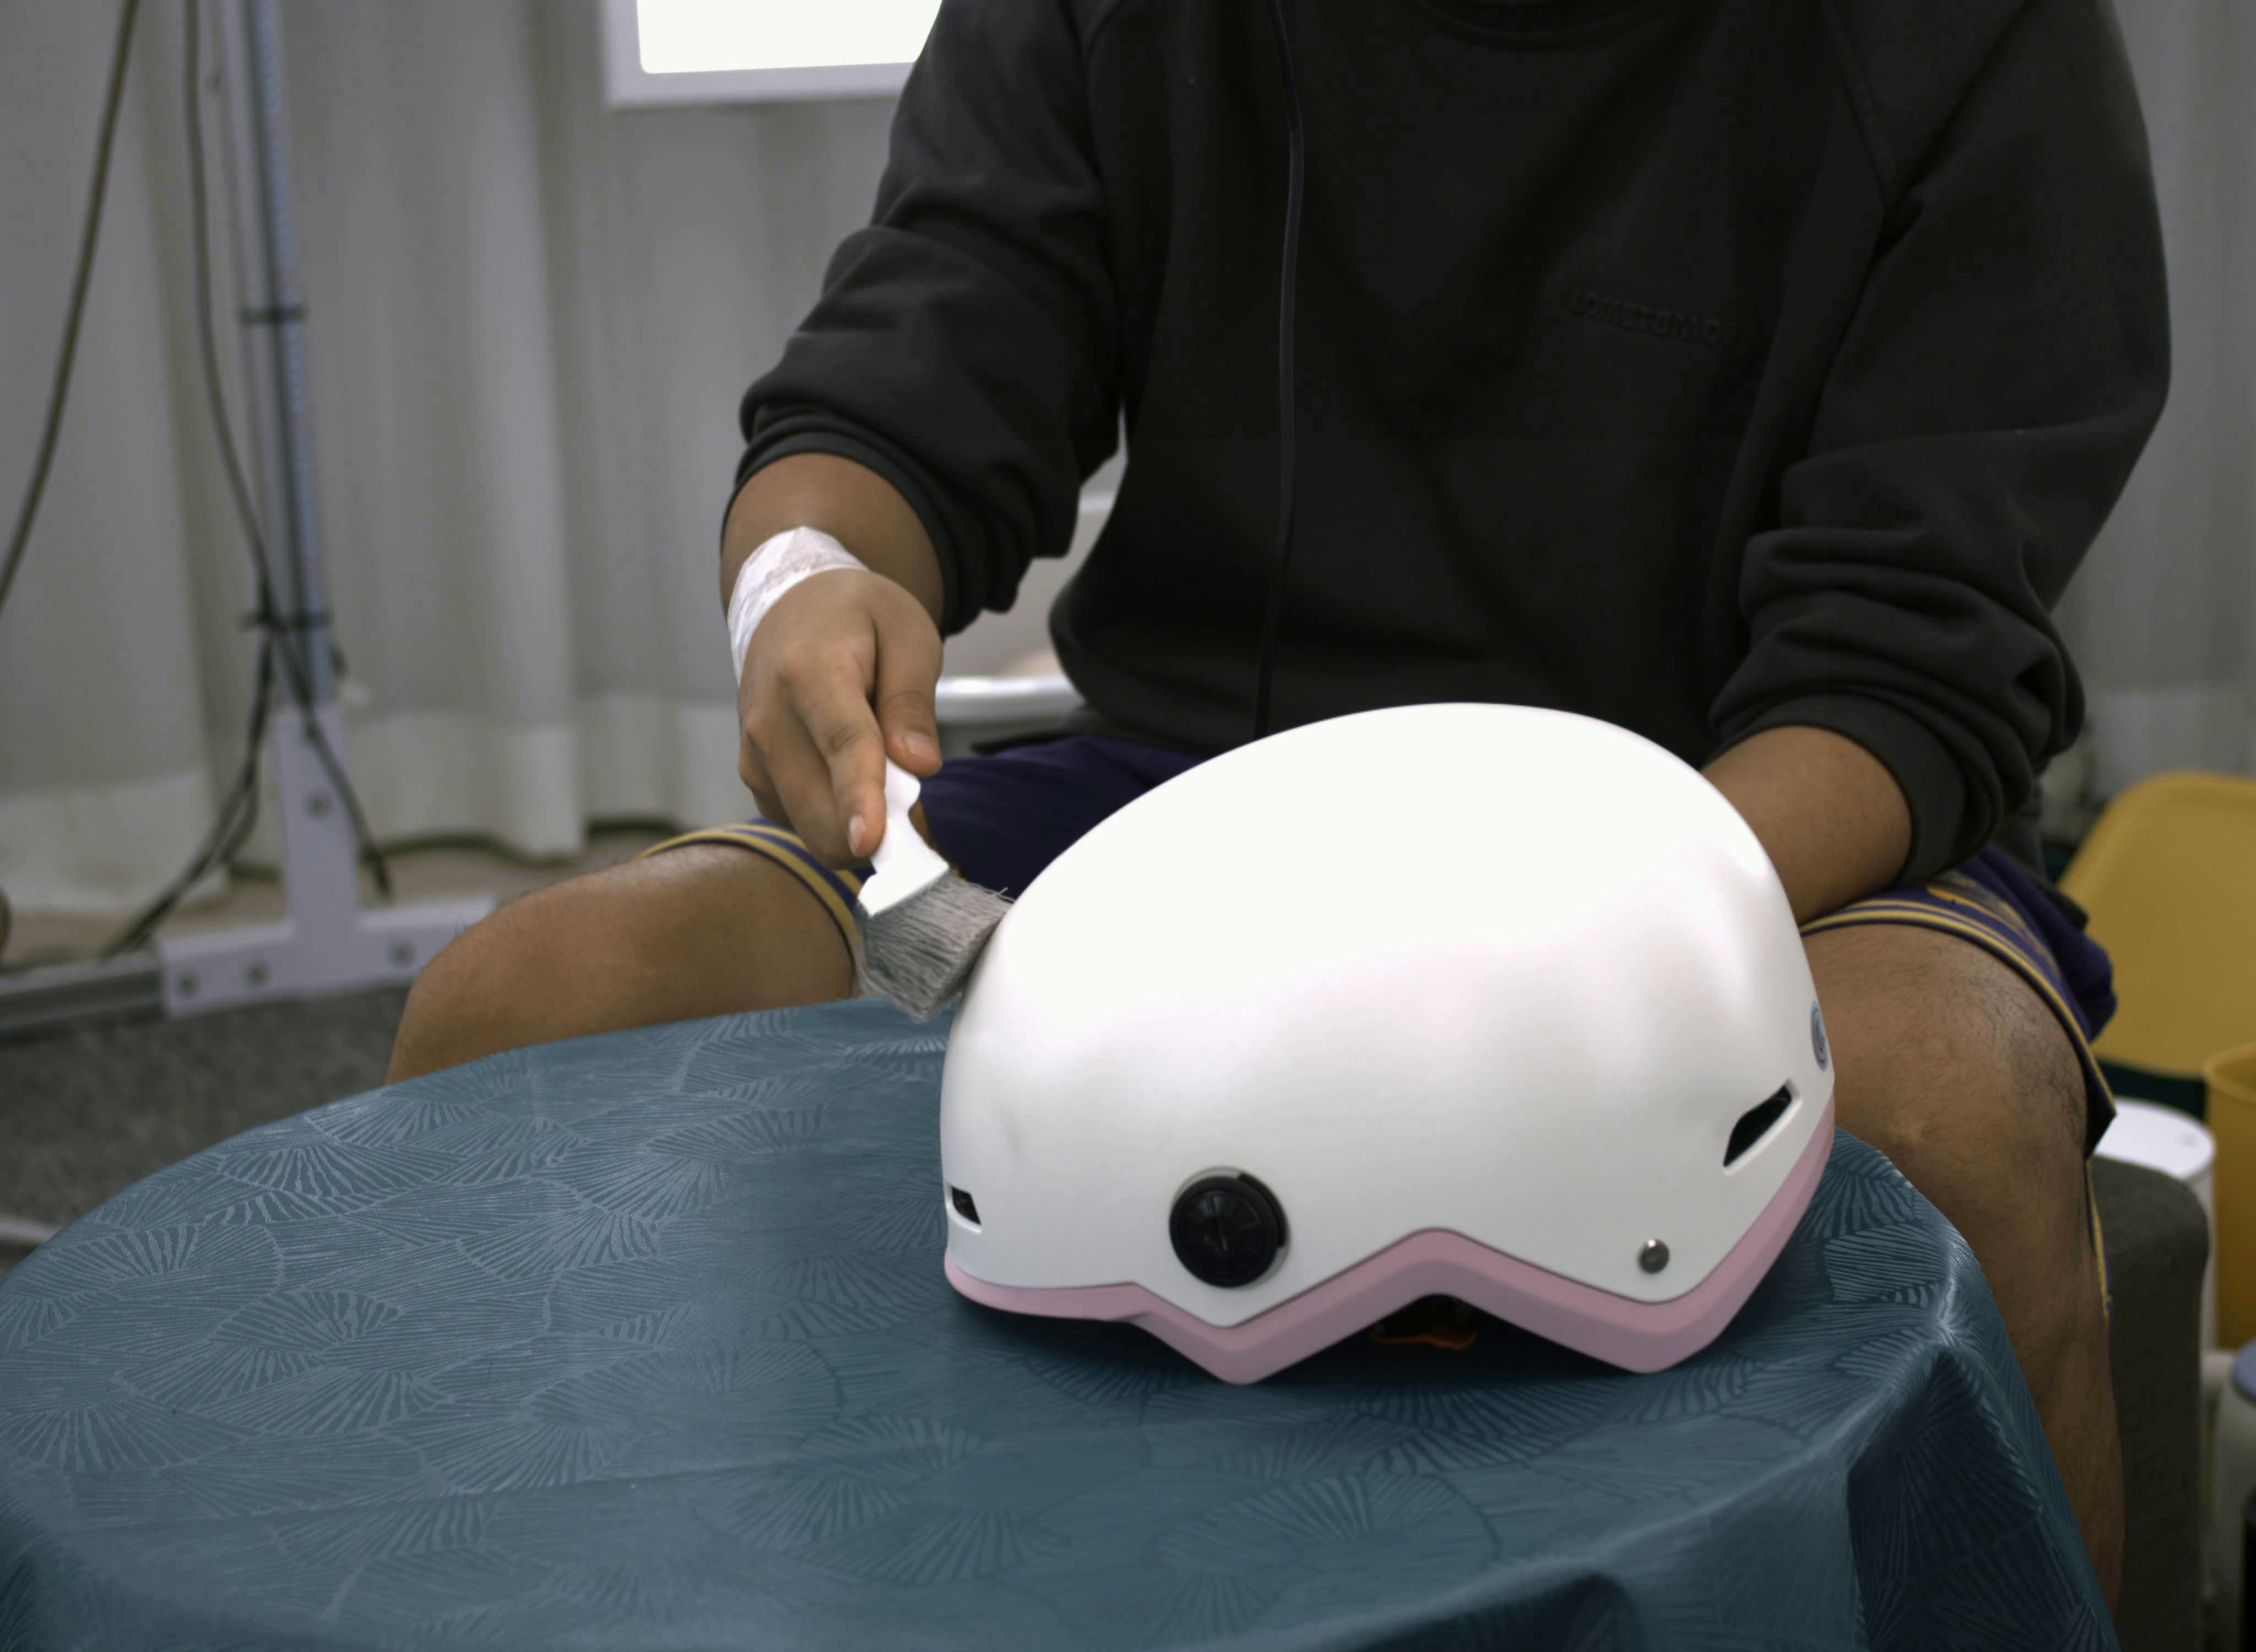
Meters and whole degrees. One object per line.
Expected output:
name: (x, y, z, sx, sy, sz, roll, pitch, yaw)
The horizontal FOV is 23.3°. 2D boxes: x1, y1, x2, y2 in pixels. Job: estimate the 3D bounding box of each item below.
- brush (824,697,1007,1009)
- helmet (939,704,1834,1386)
brush: (-0.065, 0.006, 1.724, 0.050, 0.034, 0.245, 27, 13, -8)
helmet: (0.072, 0.050, 1.614, 0.268, 0.166, 0.238, 1, 18, 15)
